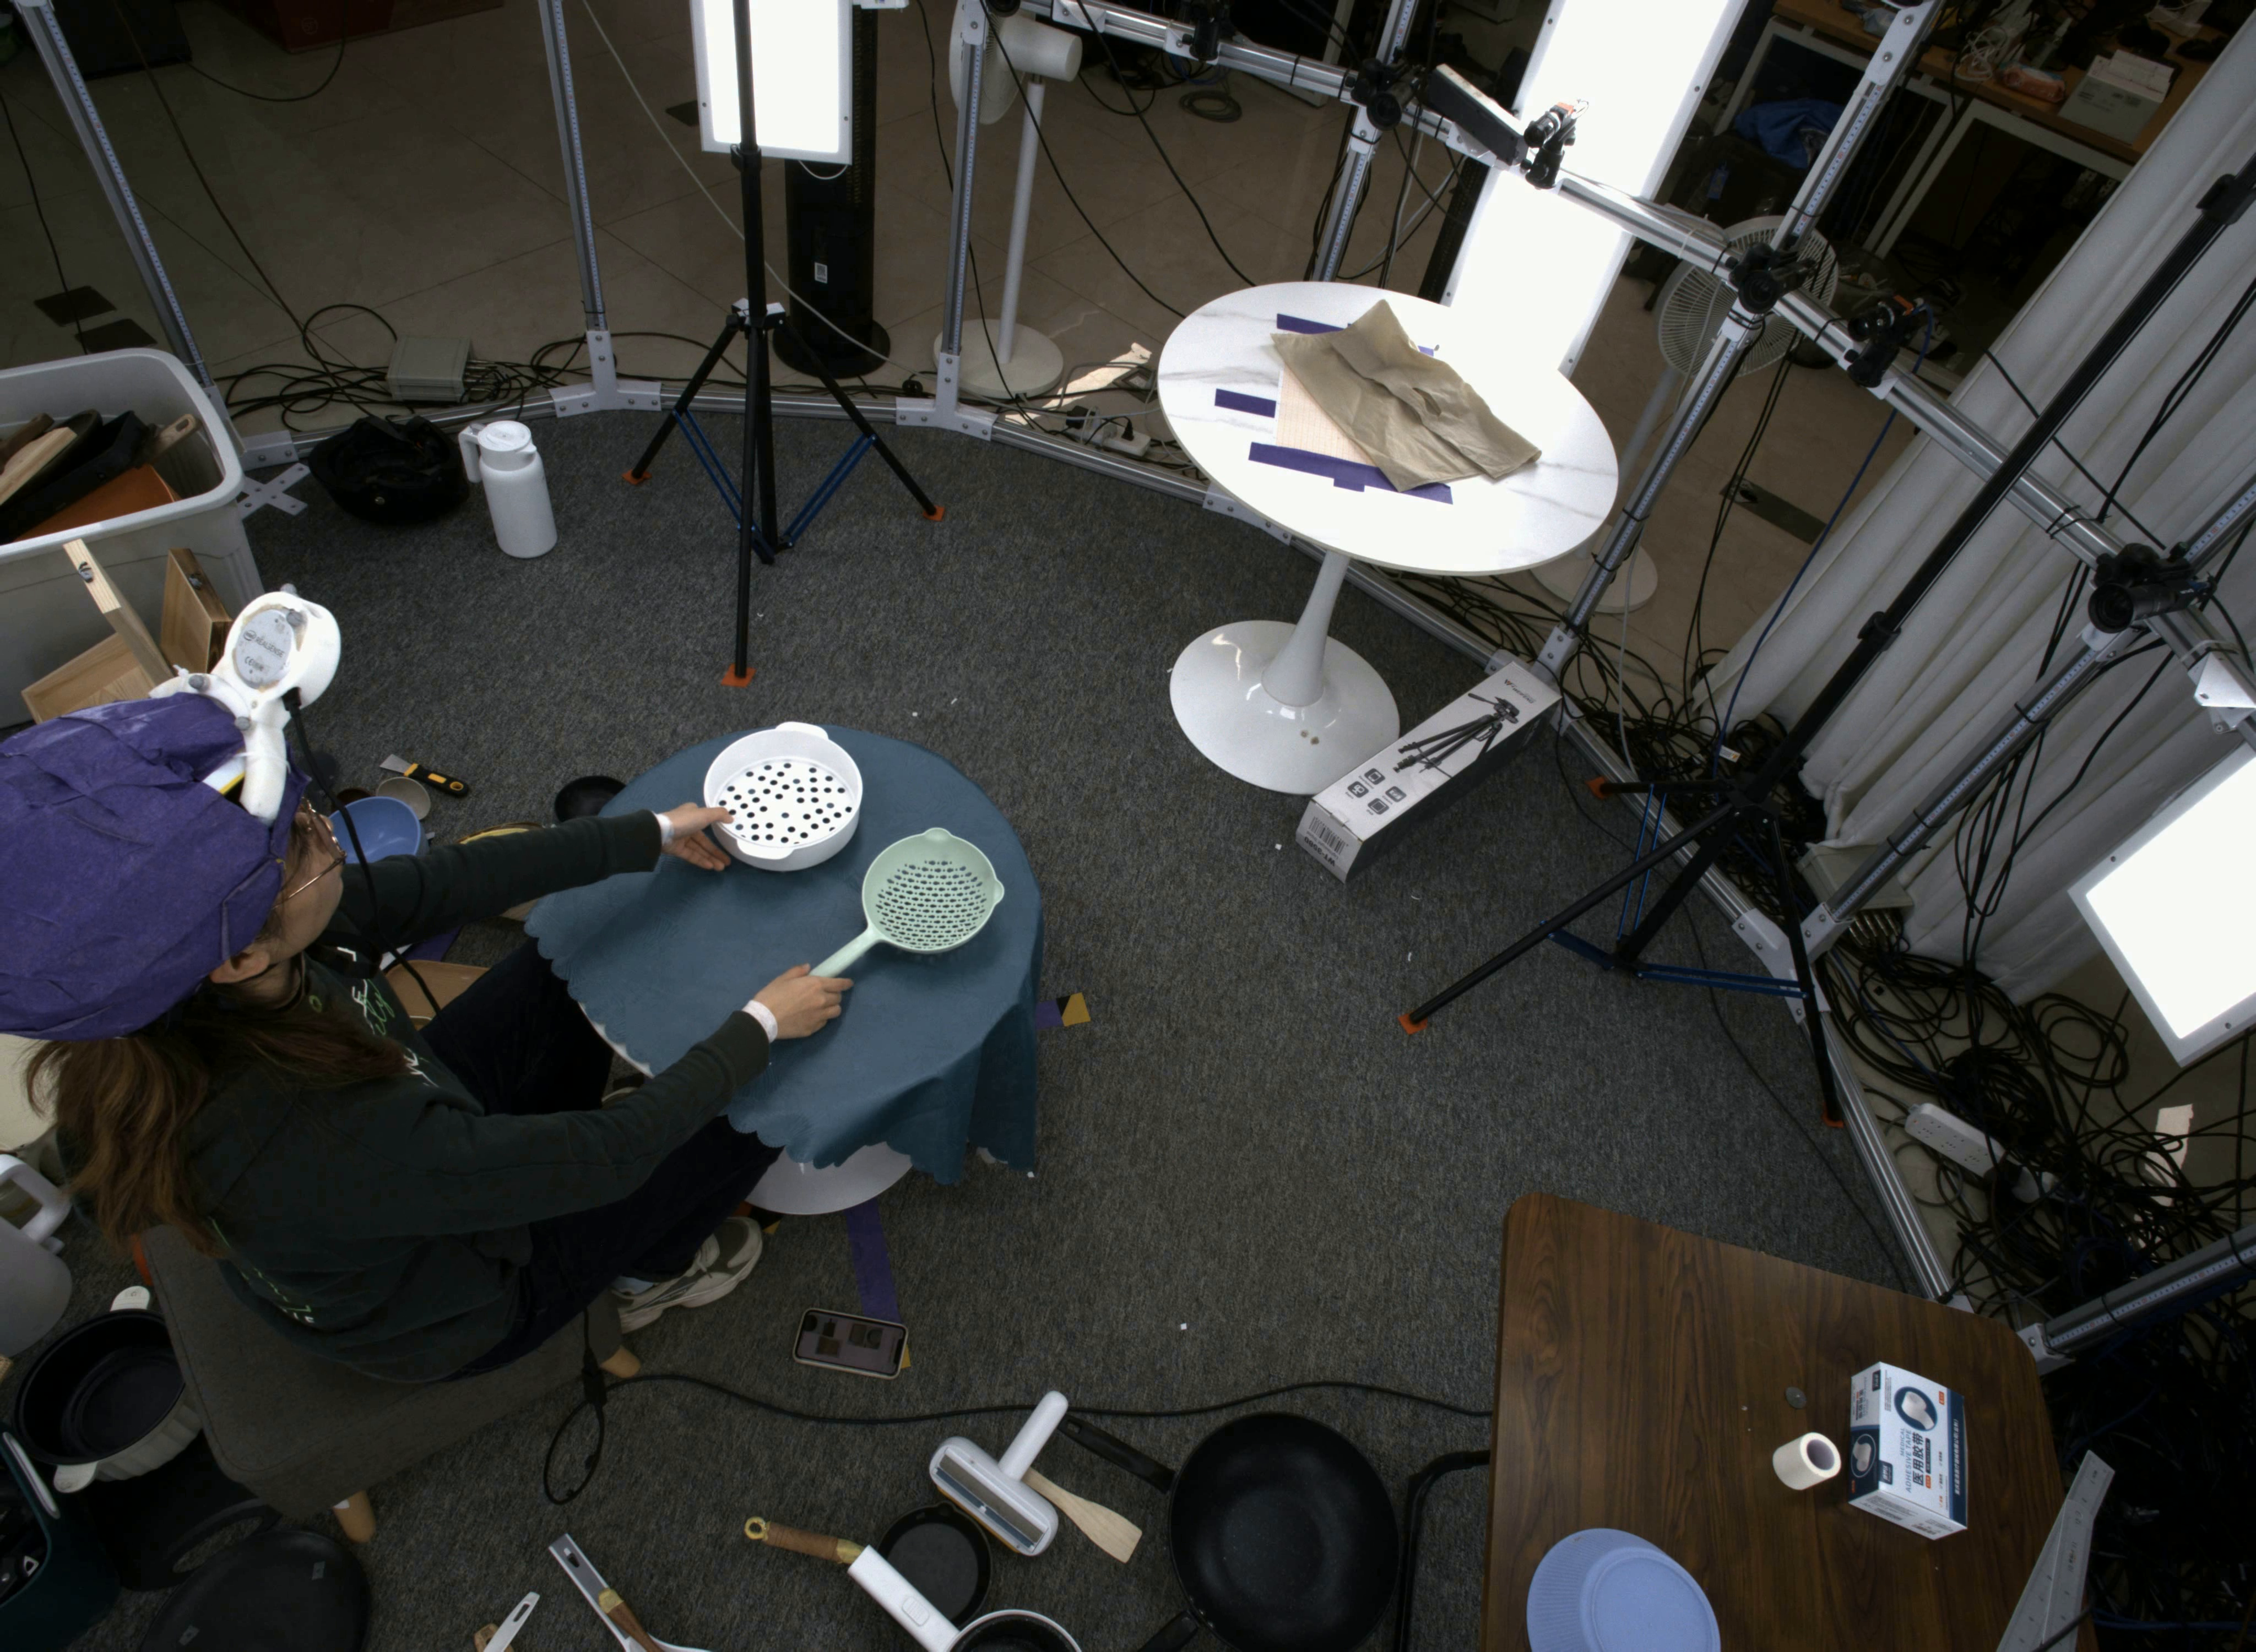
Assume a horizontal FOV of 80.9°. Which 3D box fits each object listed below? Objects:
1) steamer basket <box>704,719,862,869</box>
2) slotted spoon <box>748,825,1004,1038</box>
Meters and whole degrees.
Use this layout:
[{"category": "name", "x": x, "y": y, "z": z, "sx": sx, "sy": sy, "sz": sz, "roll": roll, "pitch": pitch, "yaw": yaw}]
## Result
[{"category": "steamer basket", "x": -0.452, "y": -0.037, "z": 1.707, "sx": 0.201, "sy": 0.070, "sz": 0.227, "roll": 9, "pitch": 52, "yaw": -6}, {"category": "slotted spoon", "x": -0.320, "y": 0.139, "z": 1.610, "sx": 0.165, "sy": 0.077, "sz": 0.360, "roll": 43, "pitch": 55, "yaw": 19}]
